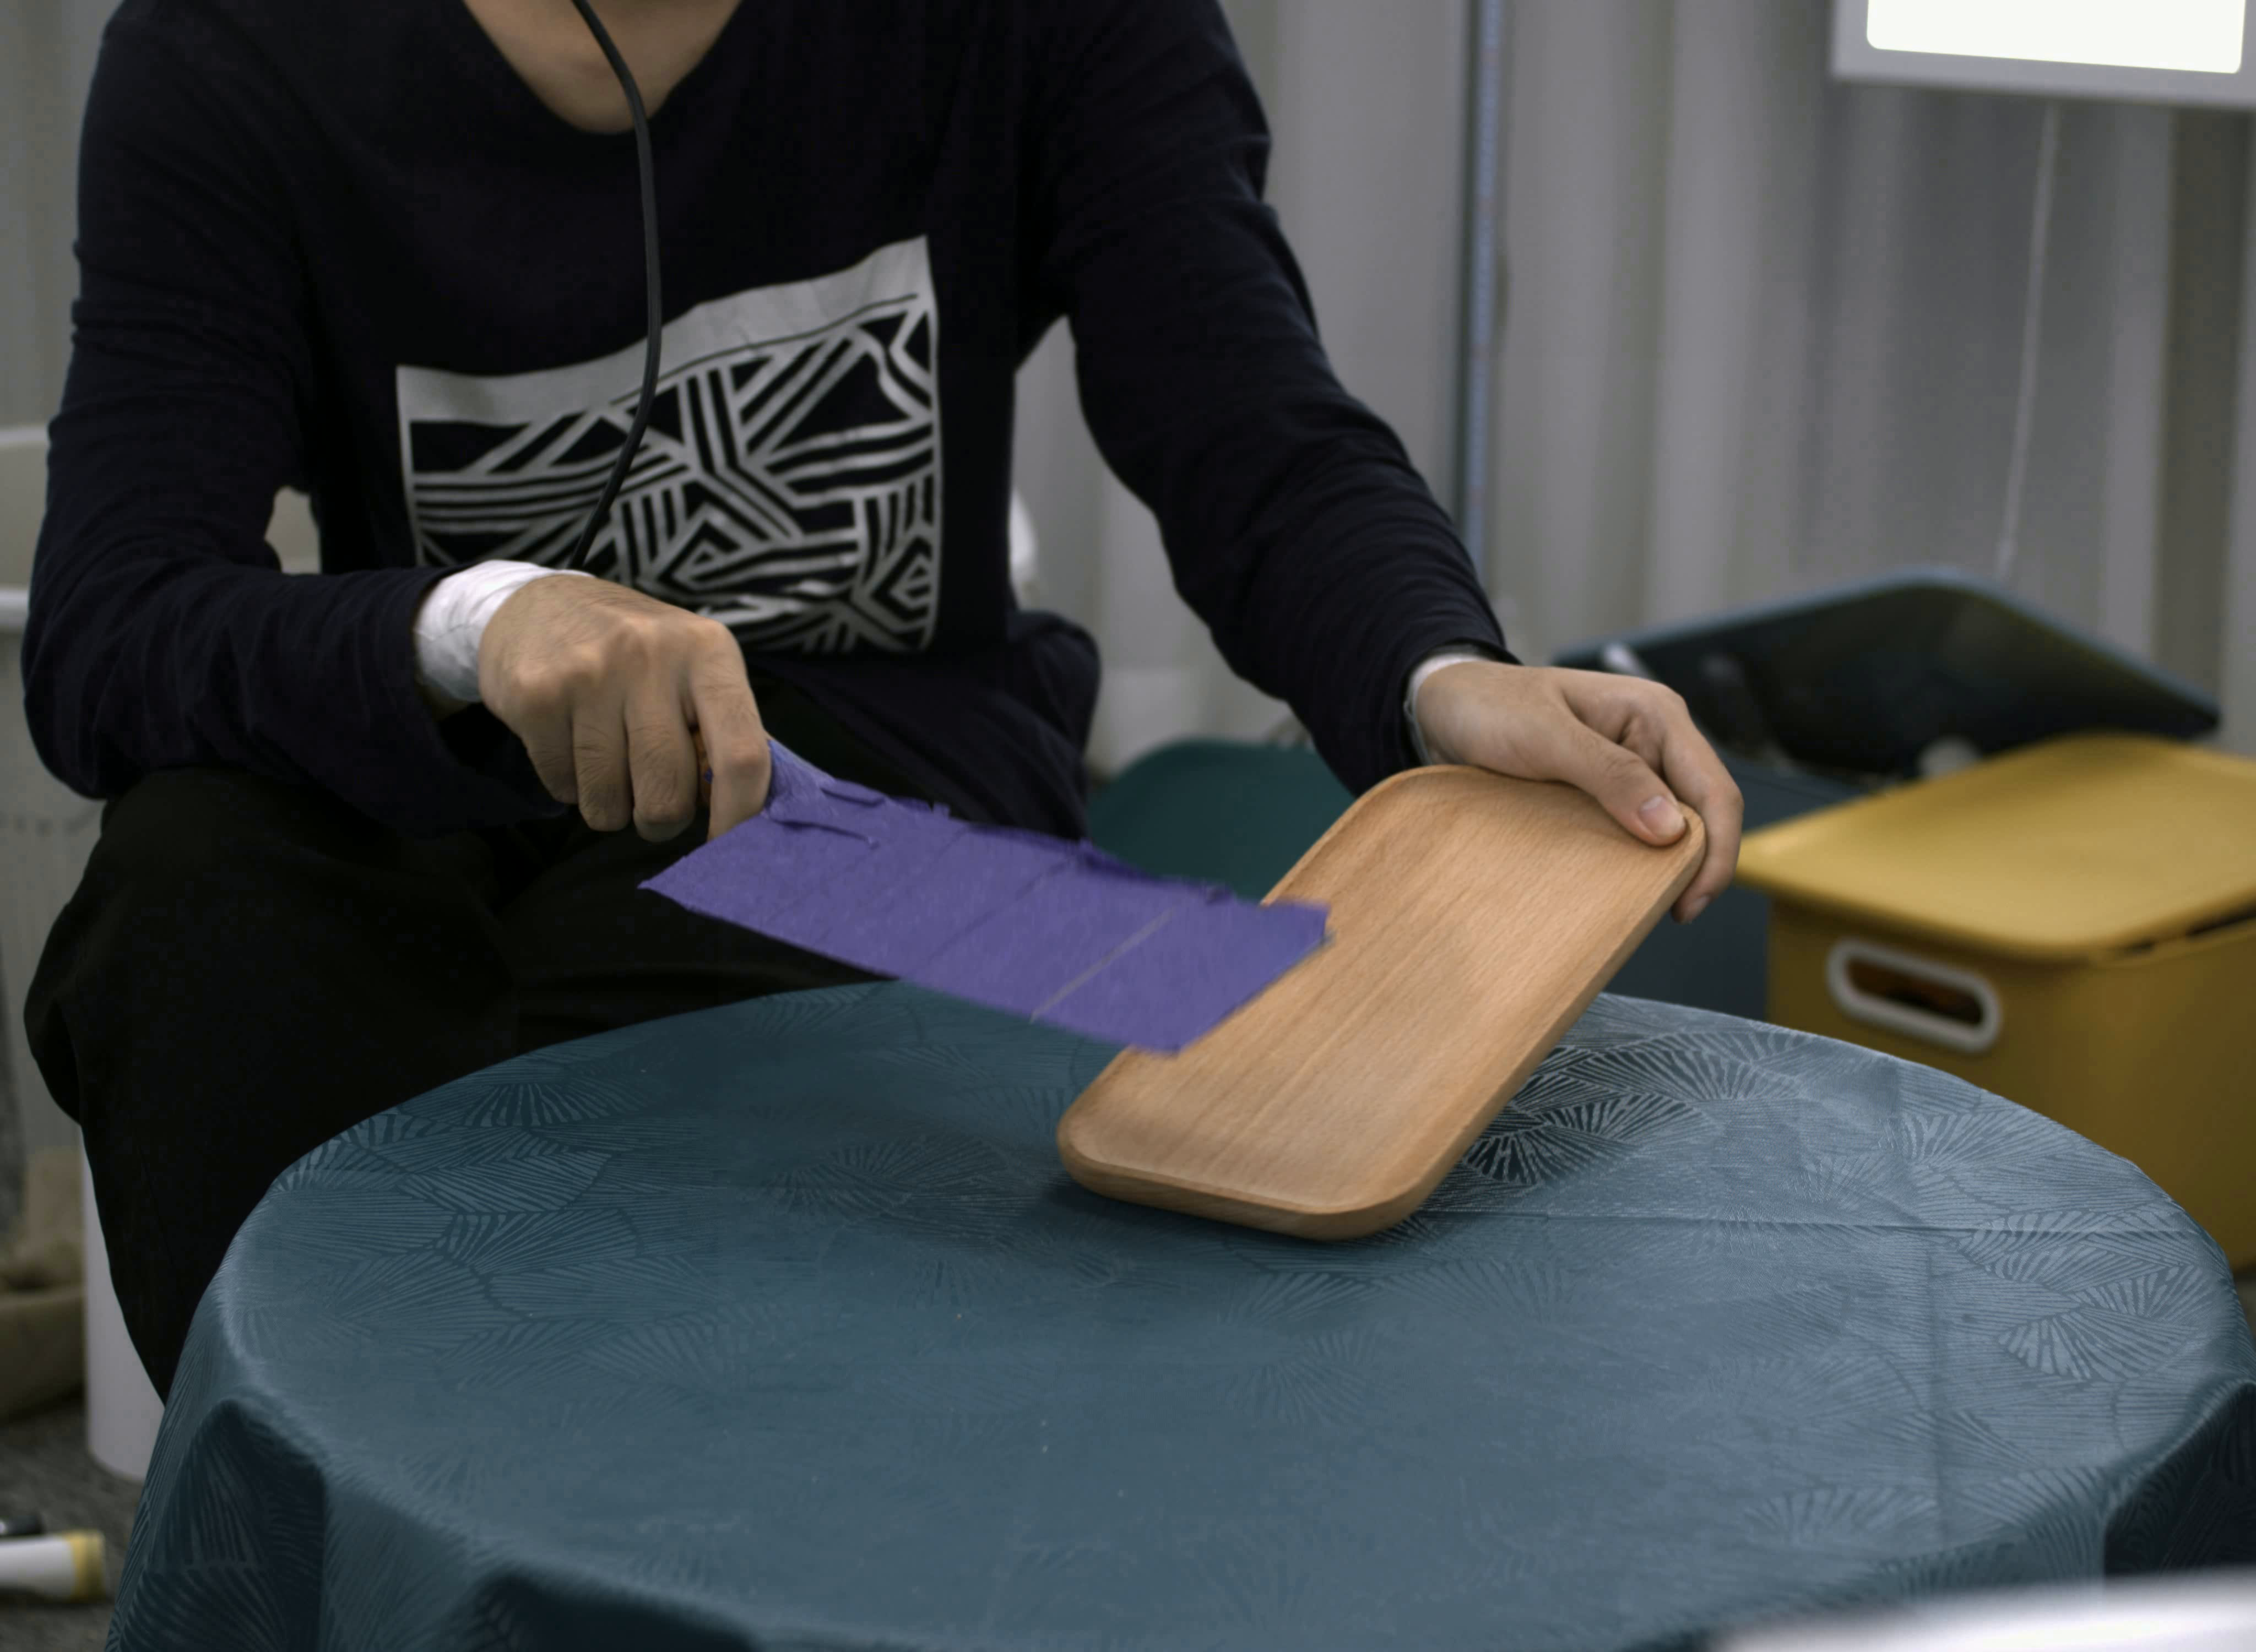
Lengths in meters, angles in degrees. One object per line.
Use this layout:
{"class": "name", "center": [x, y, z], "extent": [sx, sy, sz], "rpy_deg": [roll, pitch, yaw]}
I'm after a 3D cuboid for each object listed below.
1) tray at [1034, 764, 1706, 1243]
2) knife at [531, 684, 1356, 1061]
{"class": "tray", "center": [0.081, 0.053, 1.681], "extent": [0.129, 0.023, 0.250], "rpy_deg": [10, 36, 34]}
{"class": "knife", "center": [-0.083, 0.012, 1.633], "extent": [0.311, 0.032, 0.104], "rpy_deg": [16, 31, 34]}
